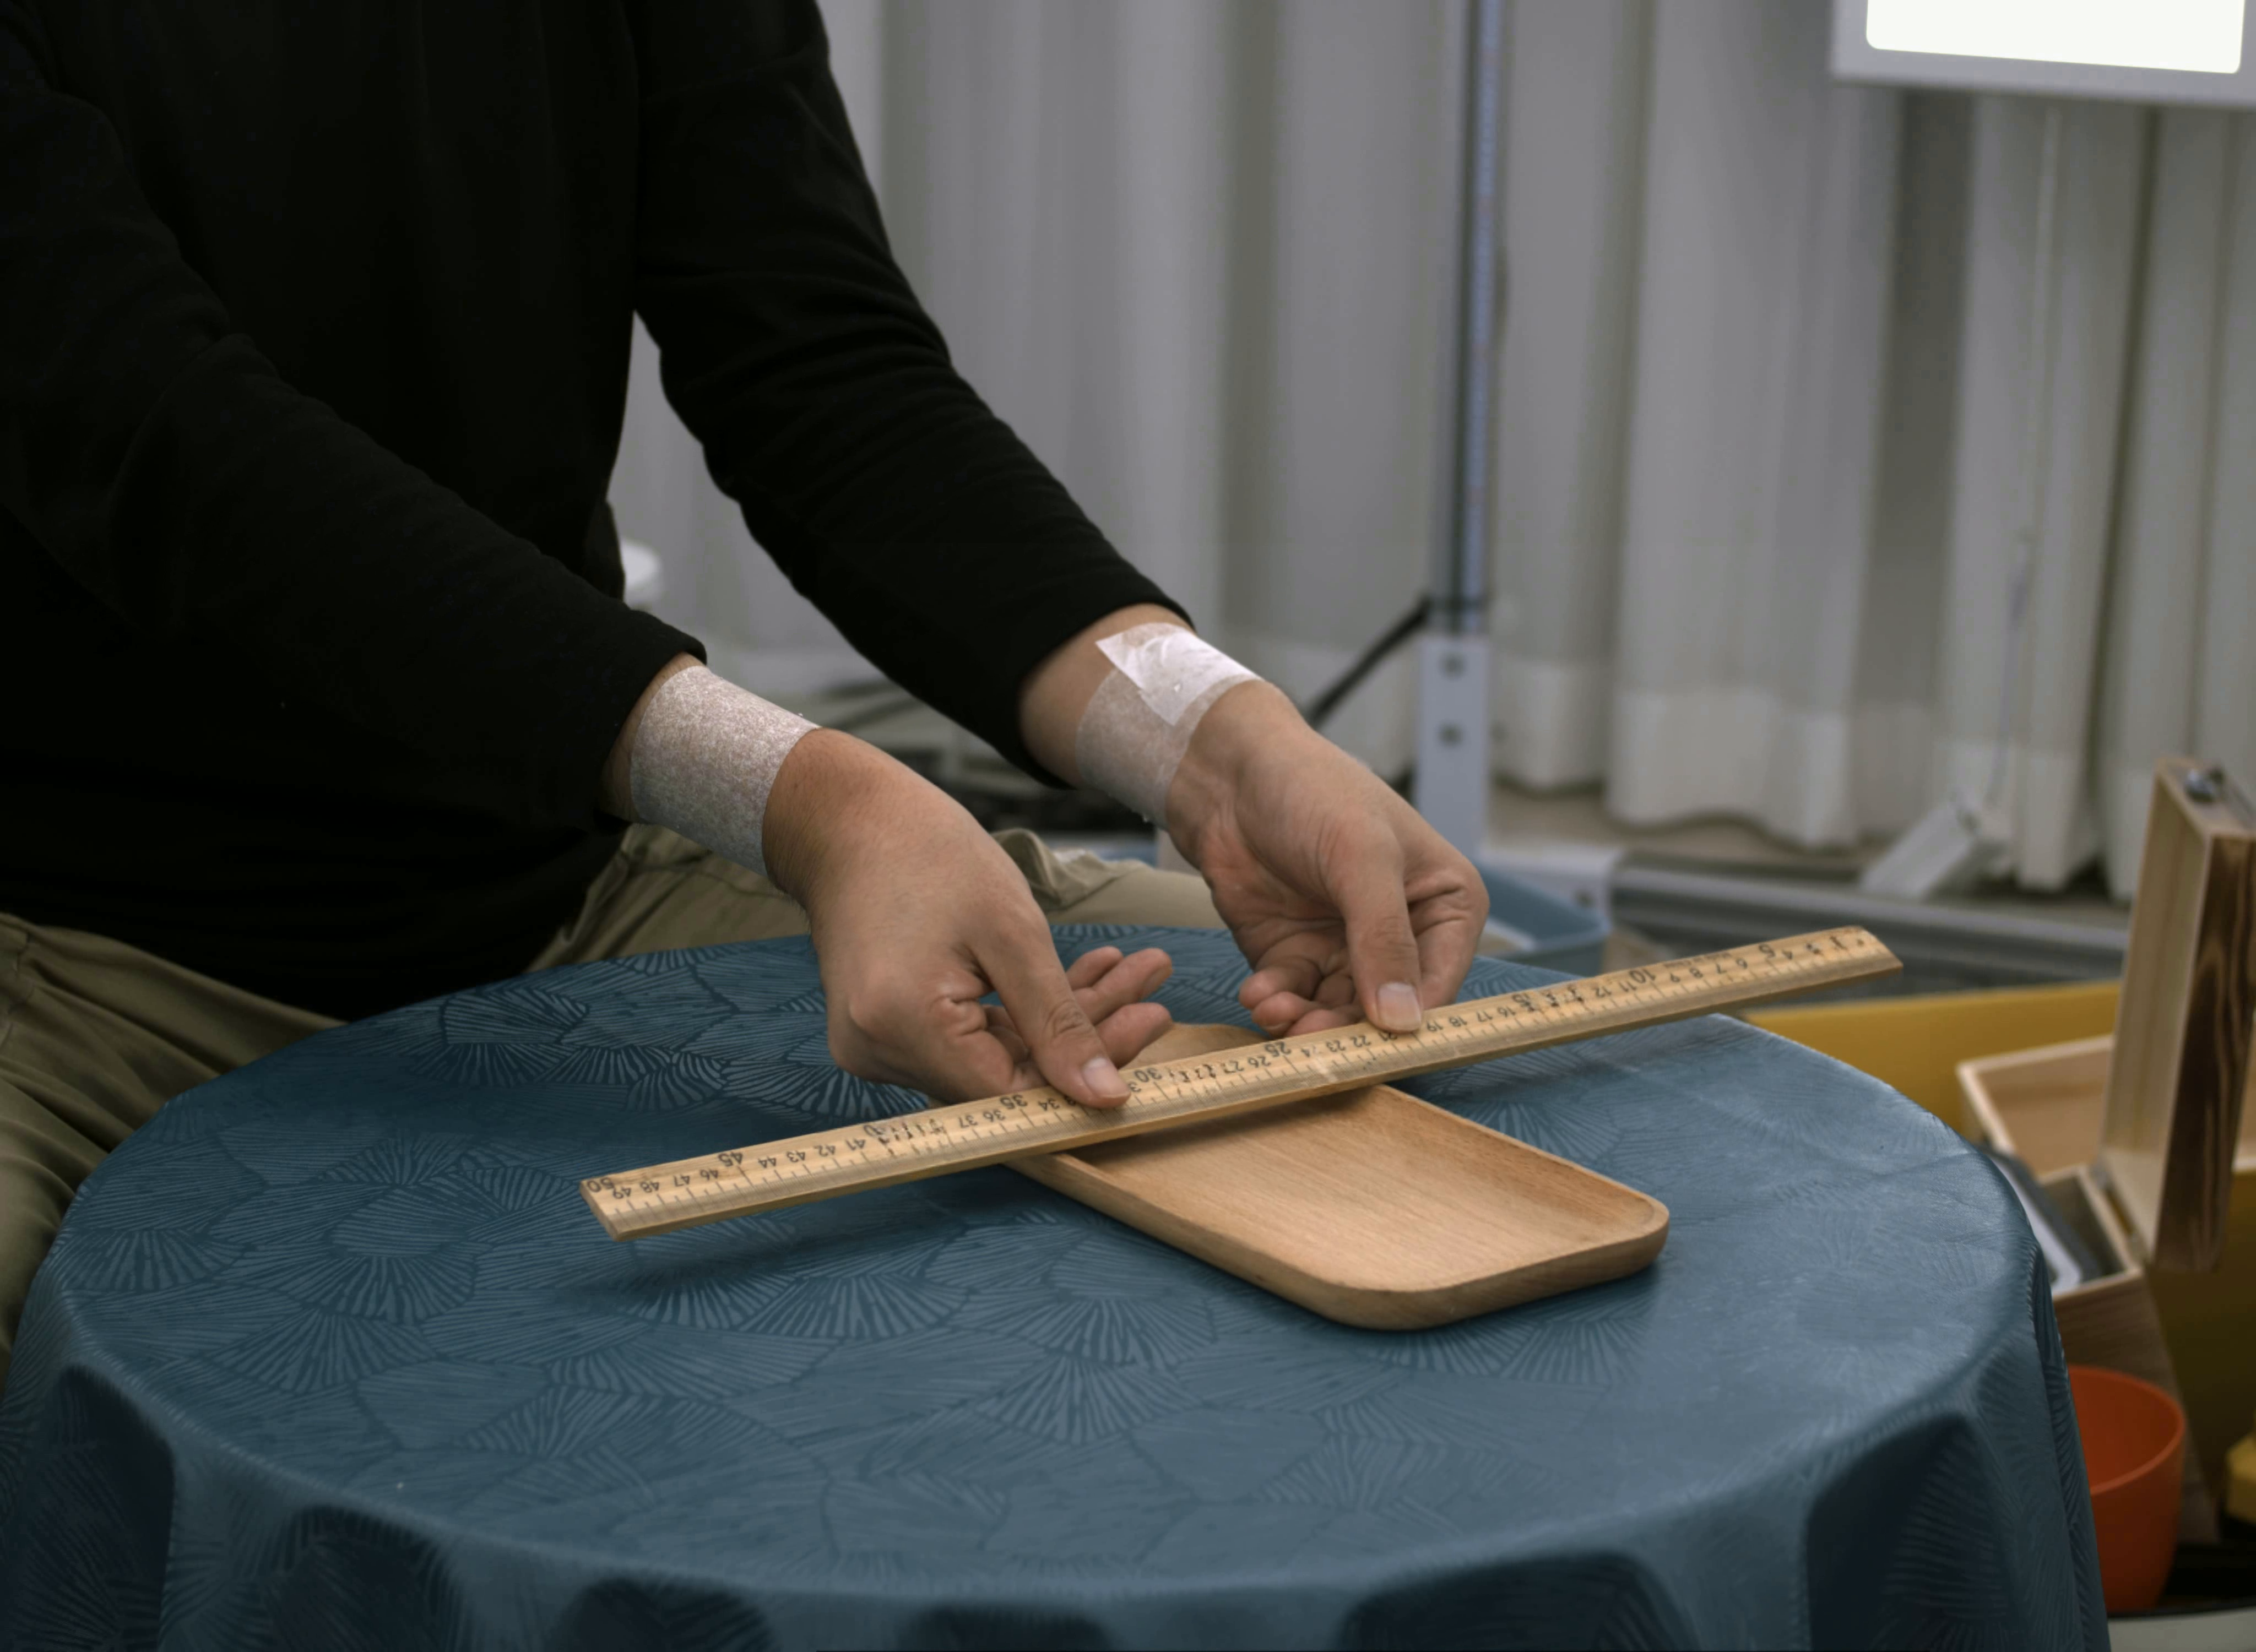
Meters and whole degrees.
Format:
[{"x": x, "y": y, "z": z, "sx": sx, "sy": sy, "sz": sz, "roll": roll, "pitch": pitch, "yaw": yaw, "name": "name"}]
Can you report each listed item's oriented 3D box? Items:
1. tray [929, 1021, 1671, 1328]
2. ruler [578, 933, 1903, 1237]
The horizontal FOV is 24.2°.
[{"x": 0.049, "y": 0.105, "z": 1.620, "sx": 0.131, "sy": 0.023, "sz": 0.247, "roll": -8, "pitch": 16, "yaw": -34, "name": "tray"}, {"x": 0.051, "y": 0.077, "z": 1.668, "sx": 0.503, "sy": 0.006, "sz": 0.026, "roll": -9, "pitch": 40, "yaw": -33, "name": "ruler"}]
